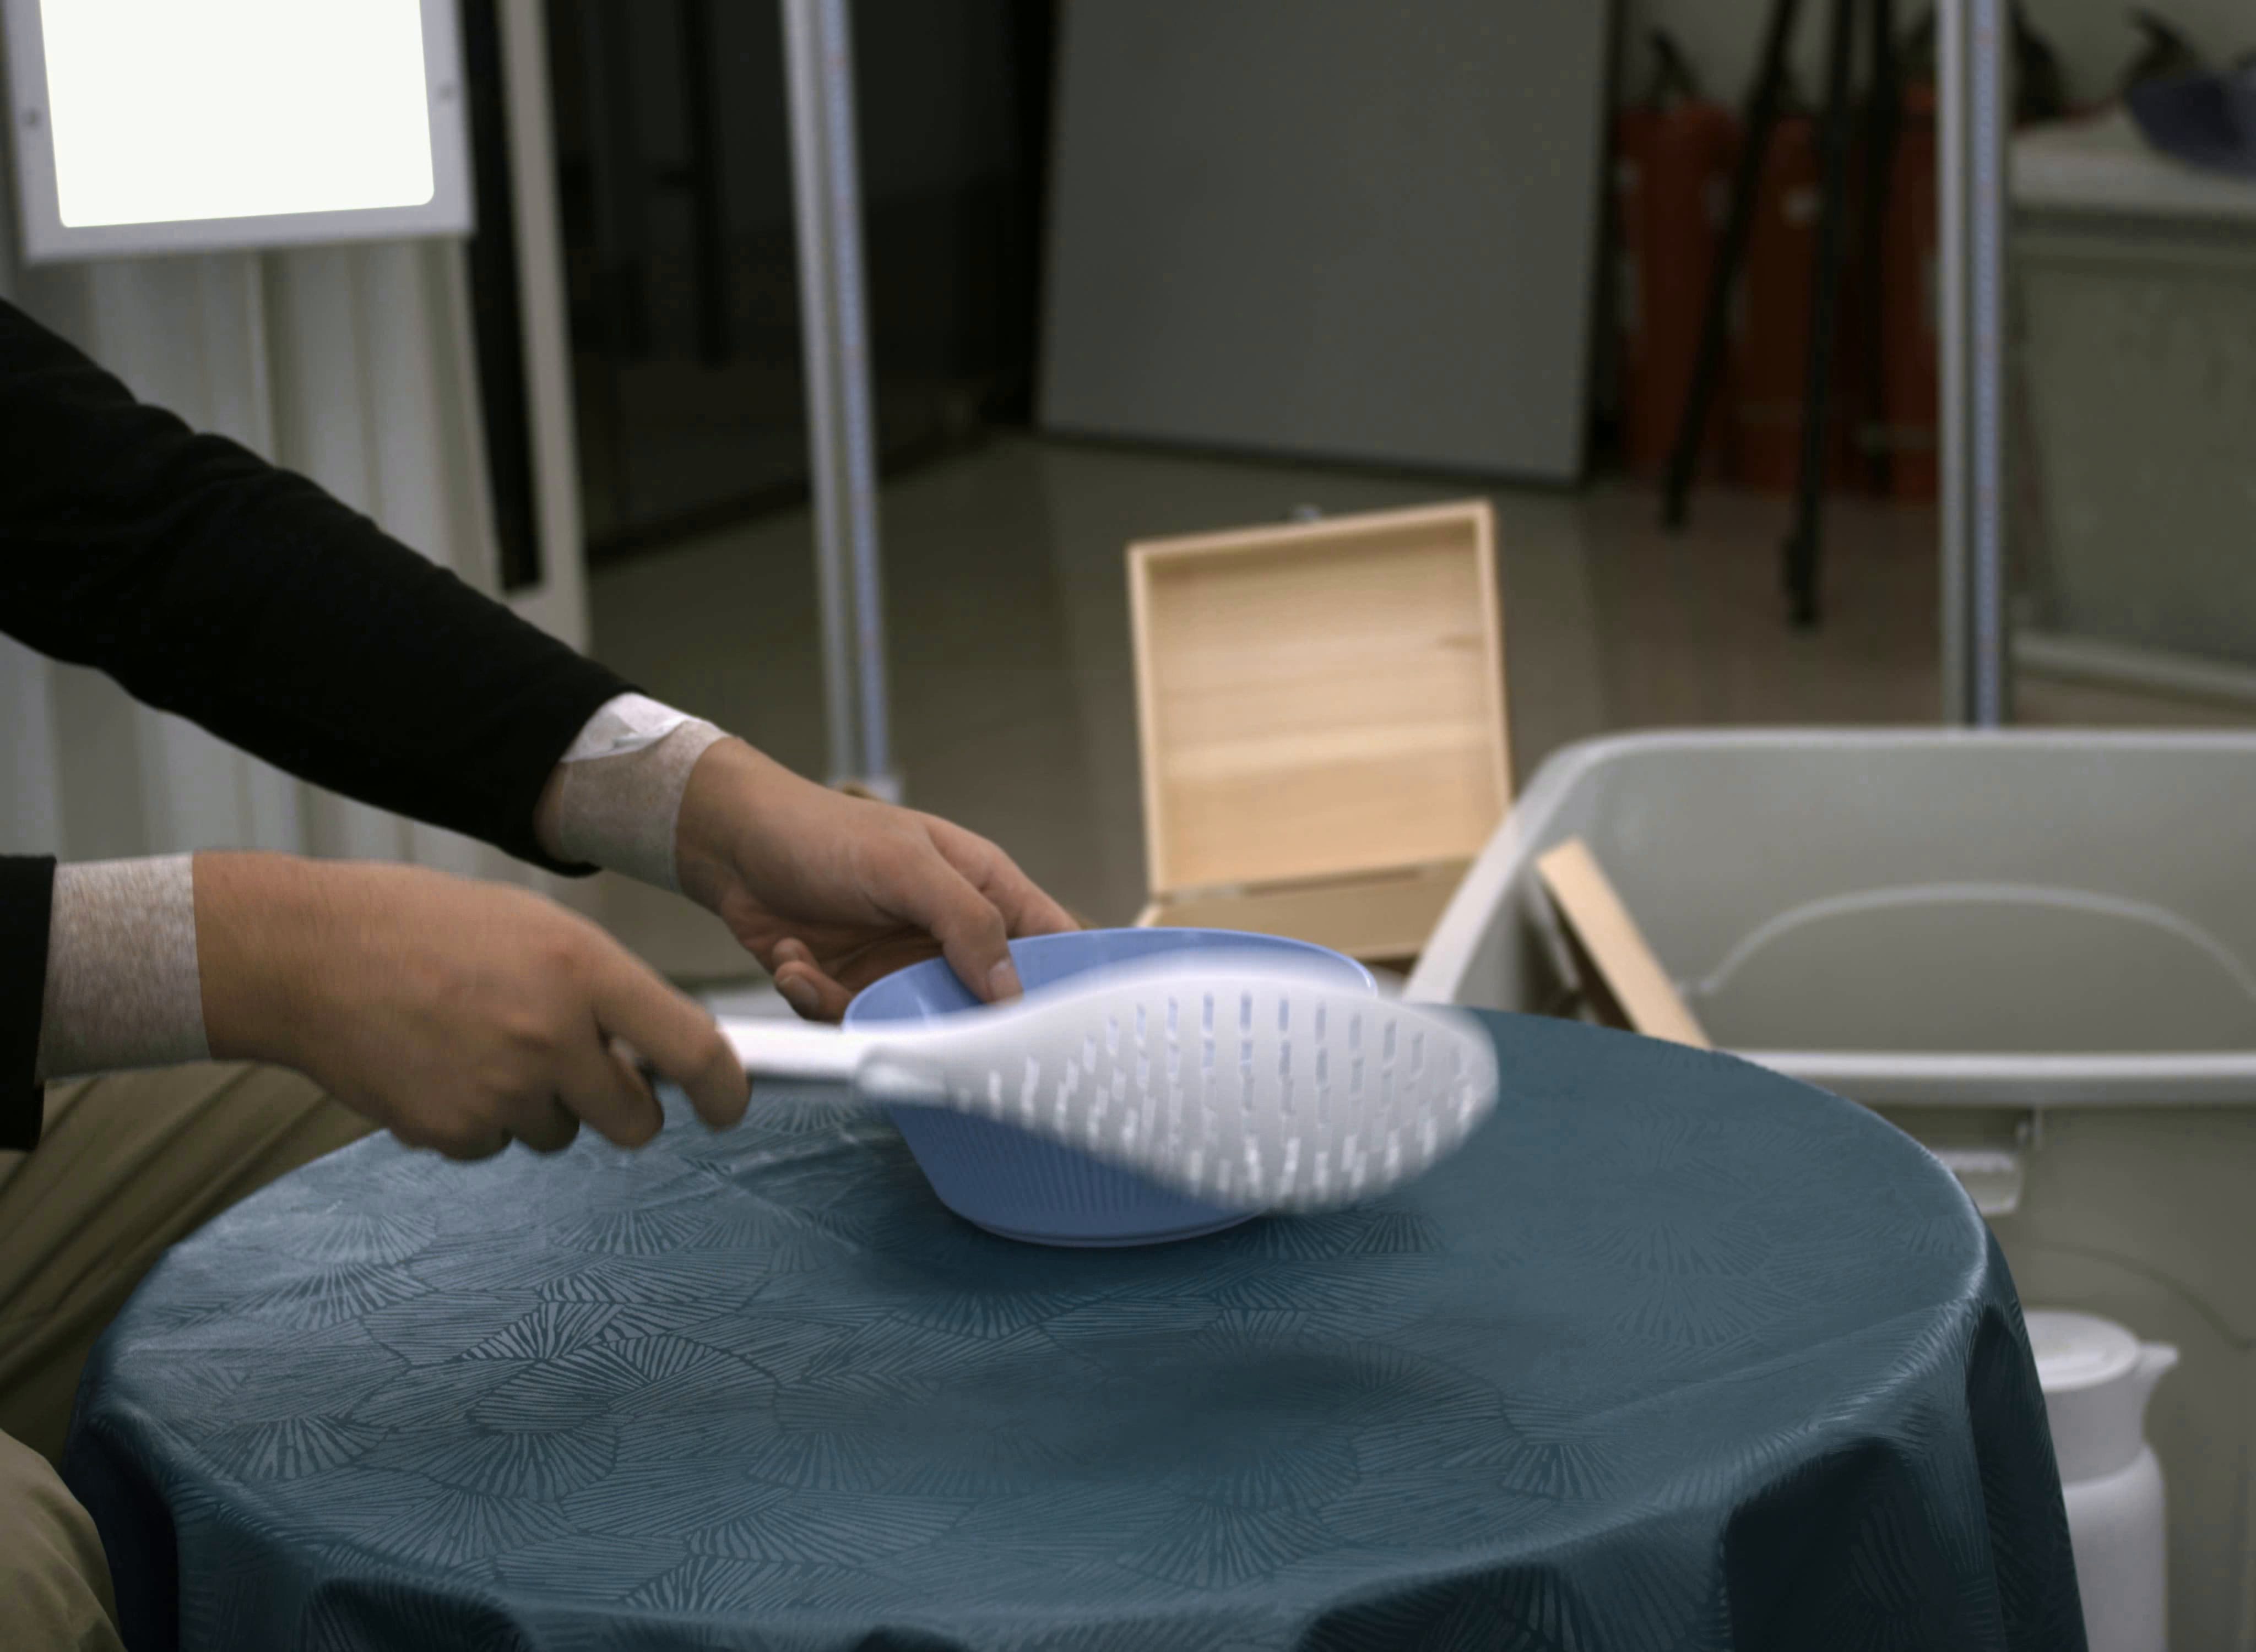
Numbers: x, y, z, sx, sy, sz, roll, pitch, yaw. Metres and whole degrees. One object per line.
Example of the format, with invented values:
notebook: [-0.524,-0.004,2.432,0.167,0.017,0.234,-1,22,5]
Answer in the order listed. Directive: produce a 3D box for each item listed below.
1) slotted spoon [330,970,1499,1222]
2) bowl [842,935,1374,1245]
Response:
slotted spoon: [-0.065,0.073,1.580,0.348,0.046,0.135,7,-25,13]
bowl: [-0.004,0.088,1.759,0.174,0.071,0.176,-5,13,0]
